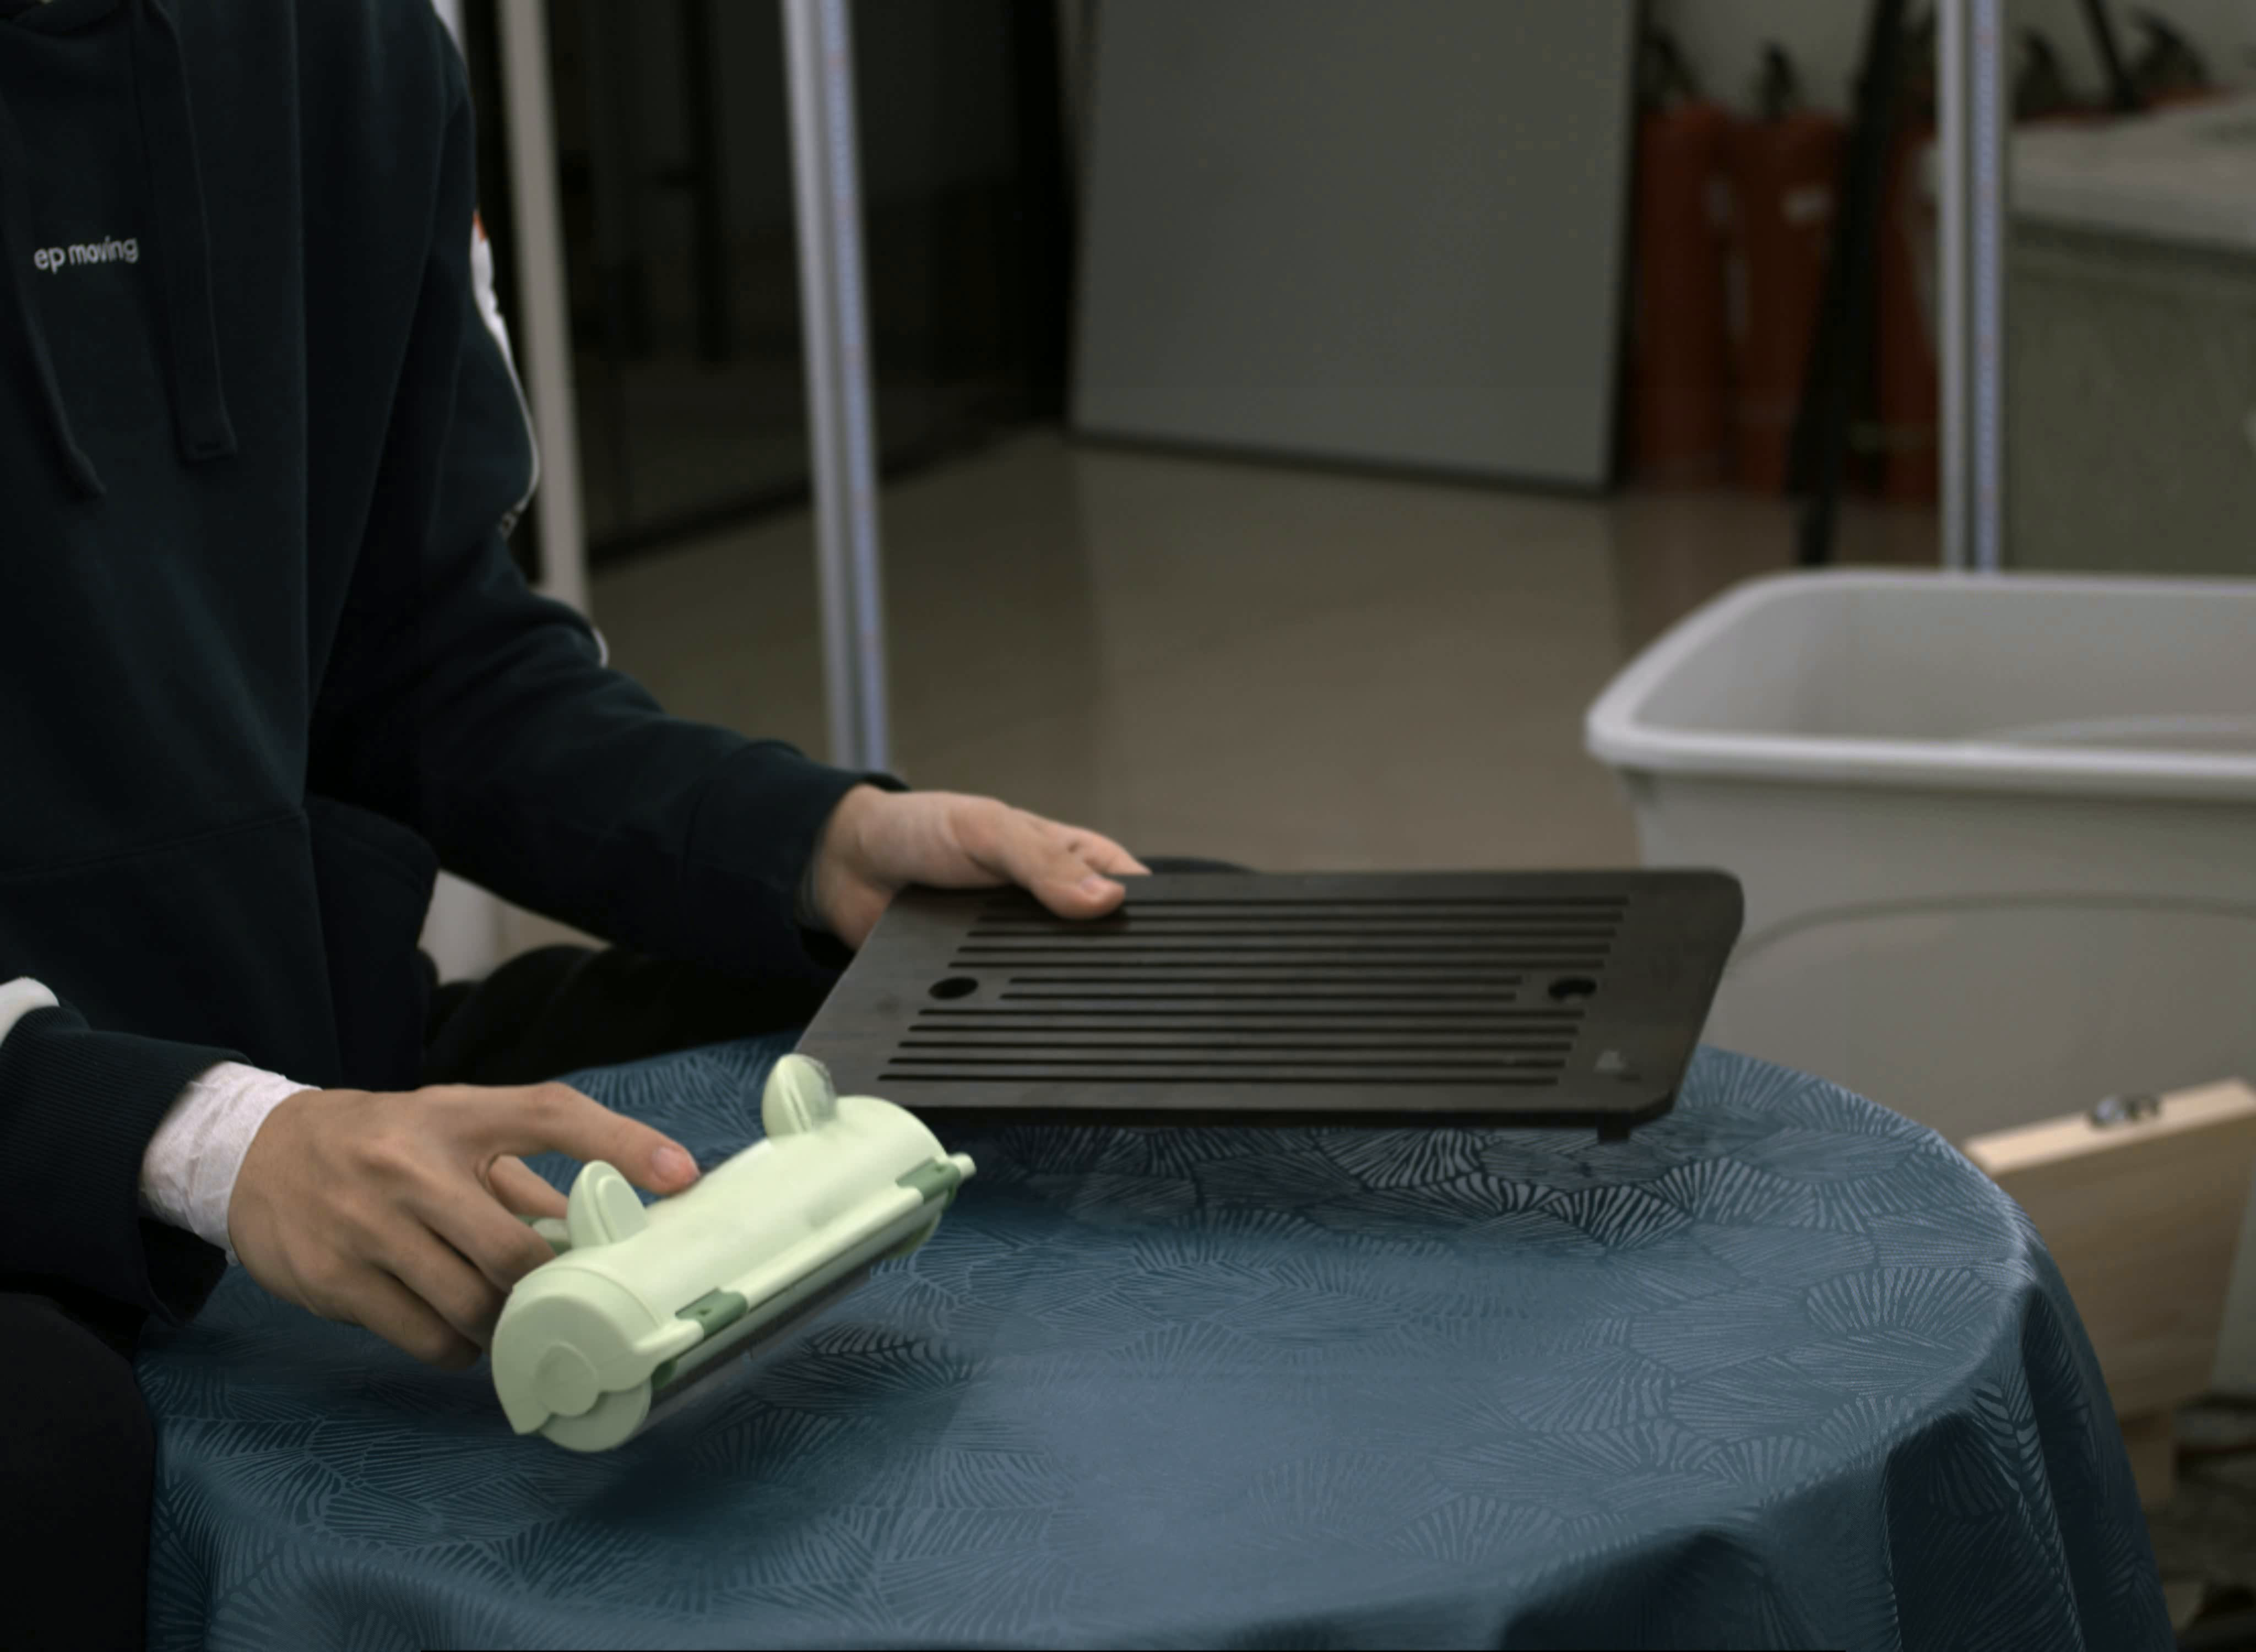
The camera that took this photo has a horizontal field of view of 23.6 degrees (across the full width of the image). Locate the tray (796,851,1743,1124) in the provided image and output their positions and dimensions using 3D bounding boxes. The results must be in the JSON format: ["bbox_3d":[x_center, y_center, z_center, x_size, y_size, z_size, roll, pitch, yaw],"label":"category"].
[{"bbox_3d":[0.047,0.057,1.801,0.305,0.019,0.169,-2,26,19],"label":"tray"}]

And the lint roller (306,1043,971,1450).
[{"bbox_3d":[-0.166,0.114,1.599,0.183,0.083,0.196,6,16,25],"label":"lint roller"}]
